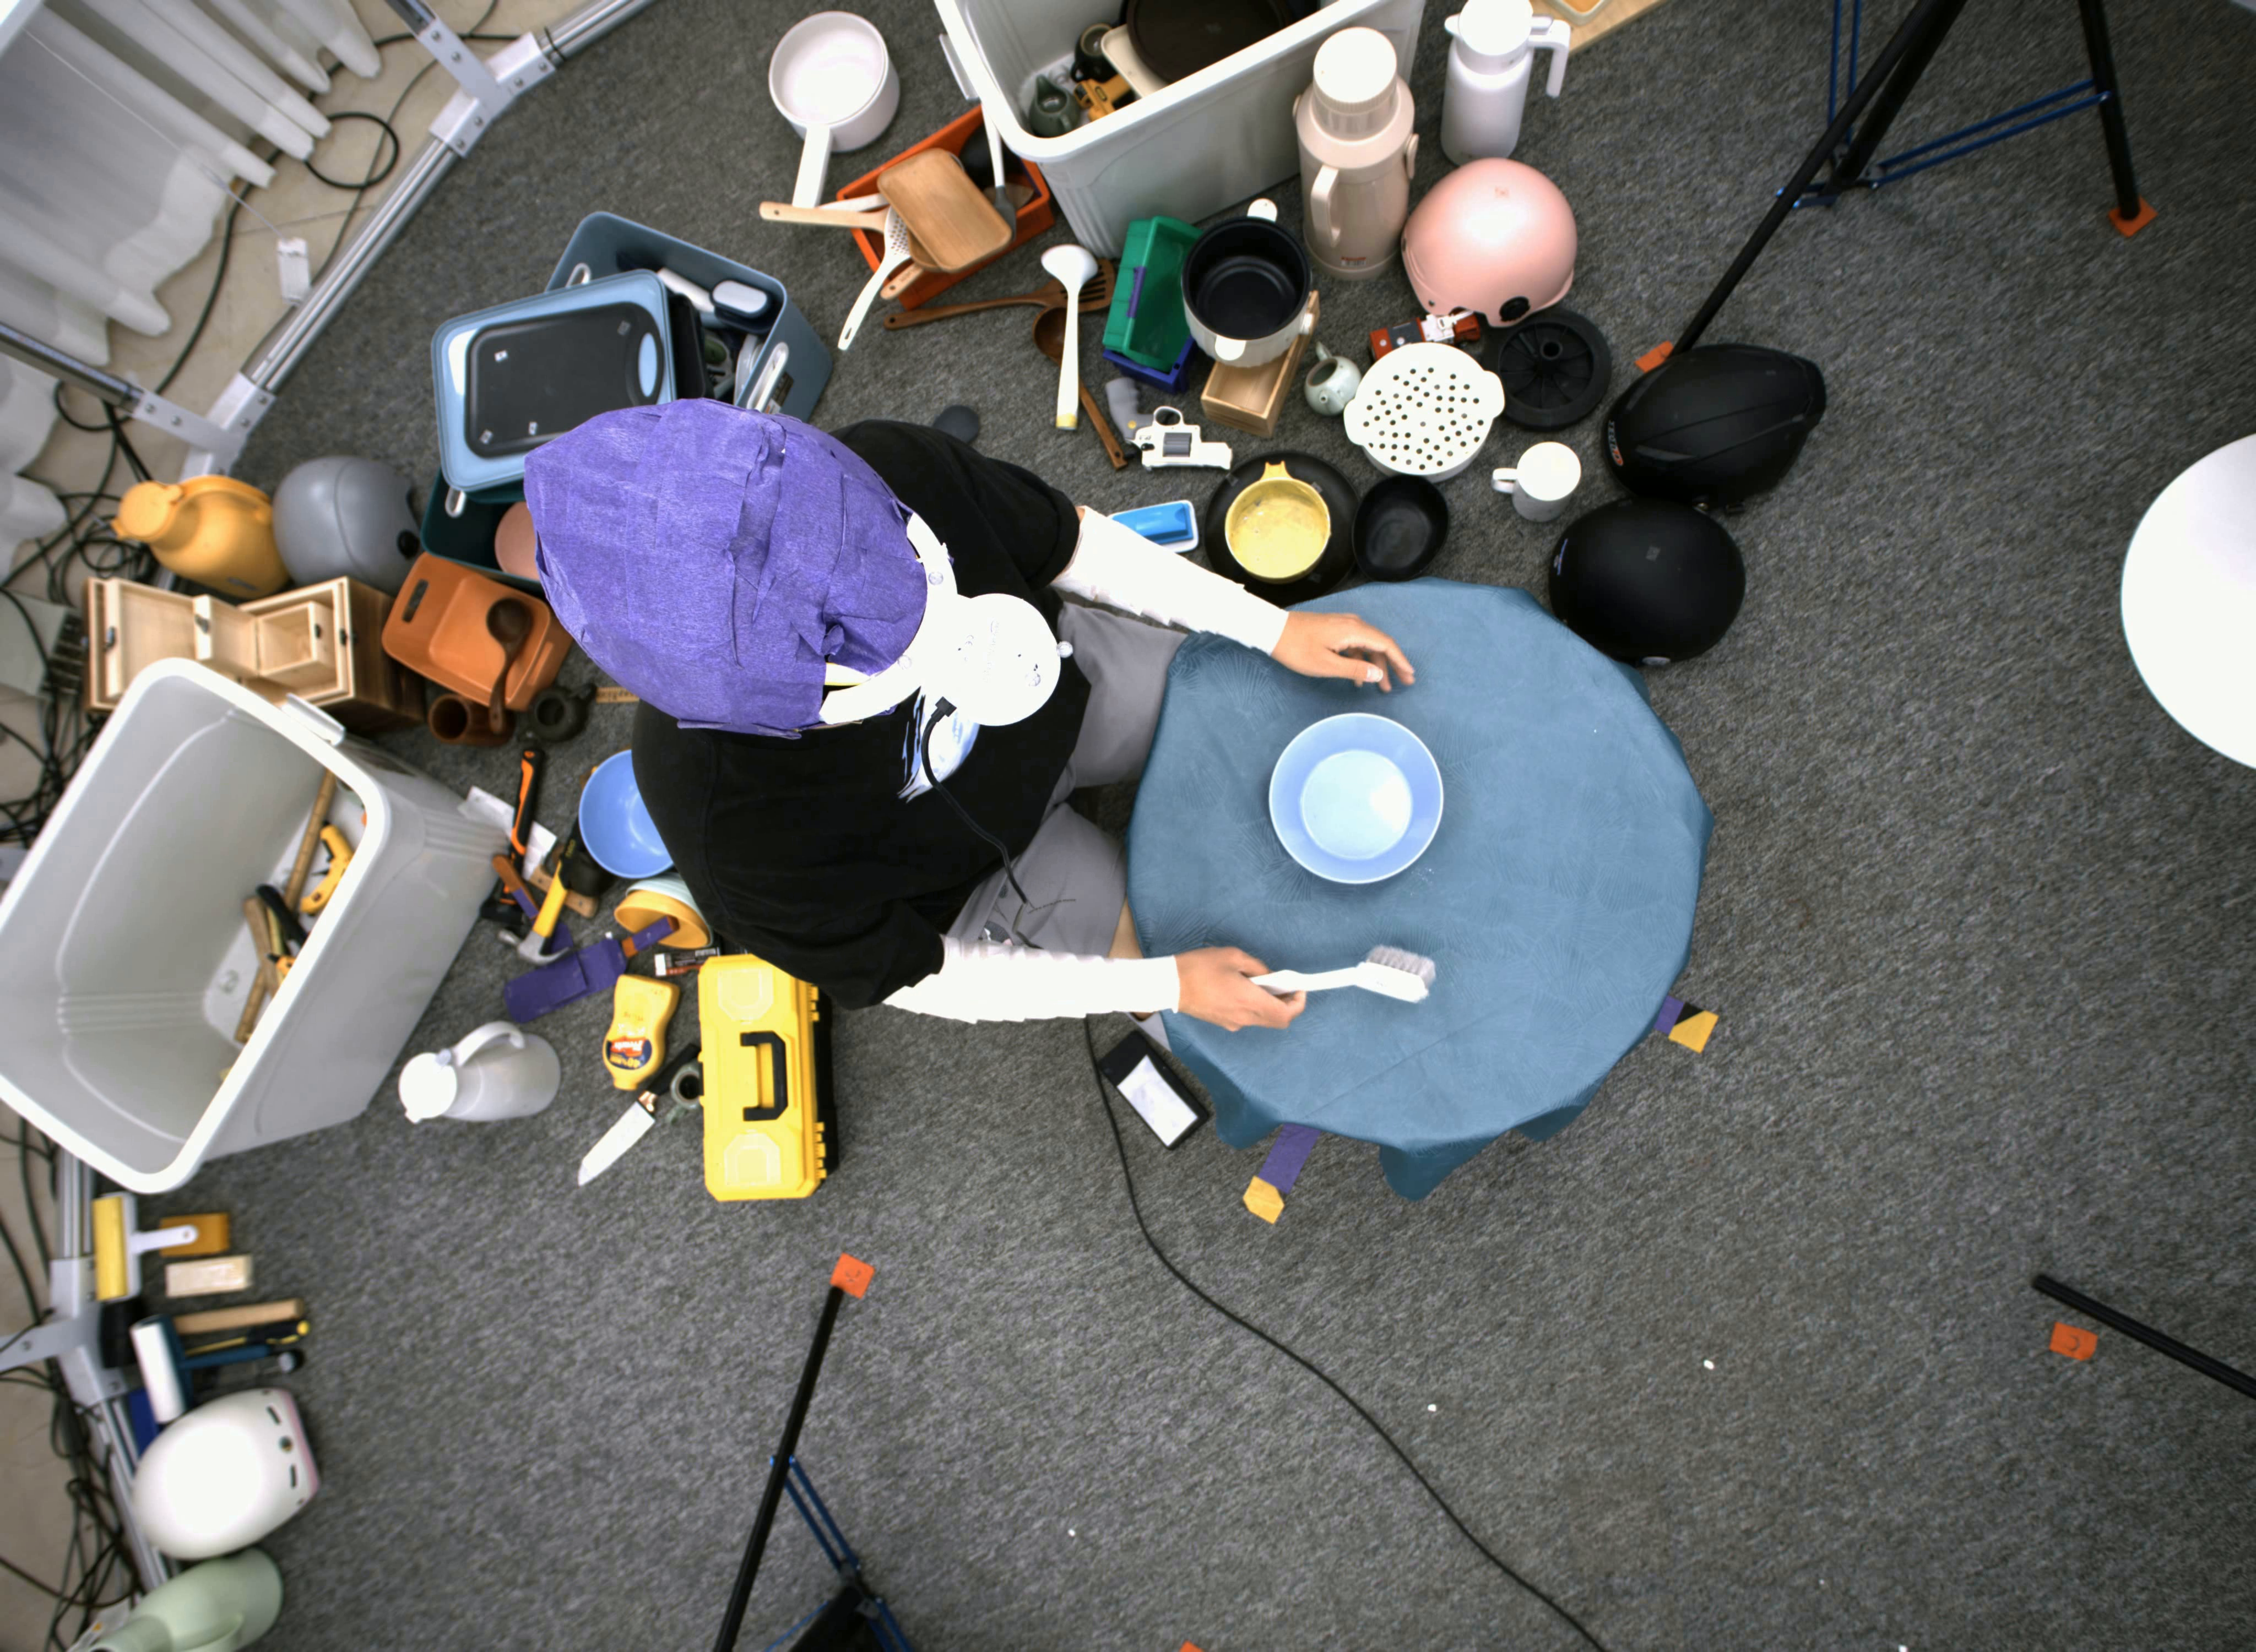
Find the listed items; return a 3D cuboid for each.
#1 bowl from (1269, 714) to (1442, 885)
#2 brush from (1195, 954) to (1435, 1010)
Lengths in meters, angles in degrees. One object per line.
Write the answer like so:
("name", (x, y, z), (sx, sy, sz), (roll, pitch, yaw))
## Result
("bowl", (0.236, -0.025, 1.434), (0.177, 0.070, 0.175), (-1, 86, 11))
("brush", (0.190, 0.151, 1.419), (0.245, 0.035, 0.049), (3, 63, 19))
